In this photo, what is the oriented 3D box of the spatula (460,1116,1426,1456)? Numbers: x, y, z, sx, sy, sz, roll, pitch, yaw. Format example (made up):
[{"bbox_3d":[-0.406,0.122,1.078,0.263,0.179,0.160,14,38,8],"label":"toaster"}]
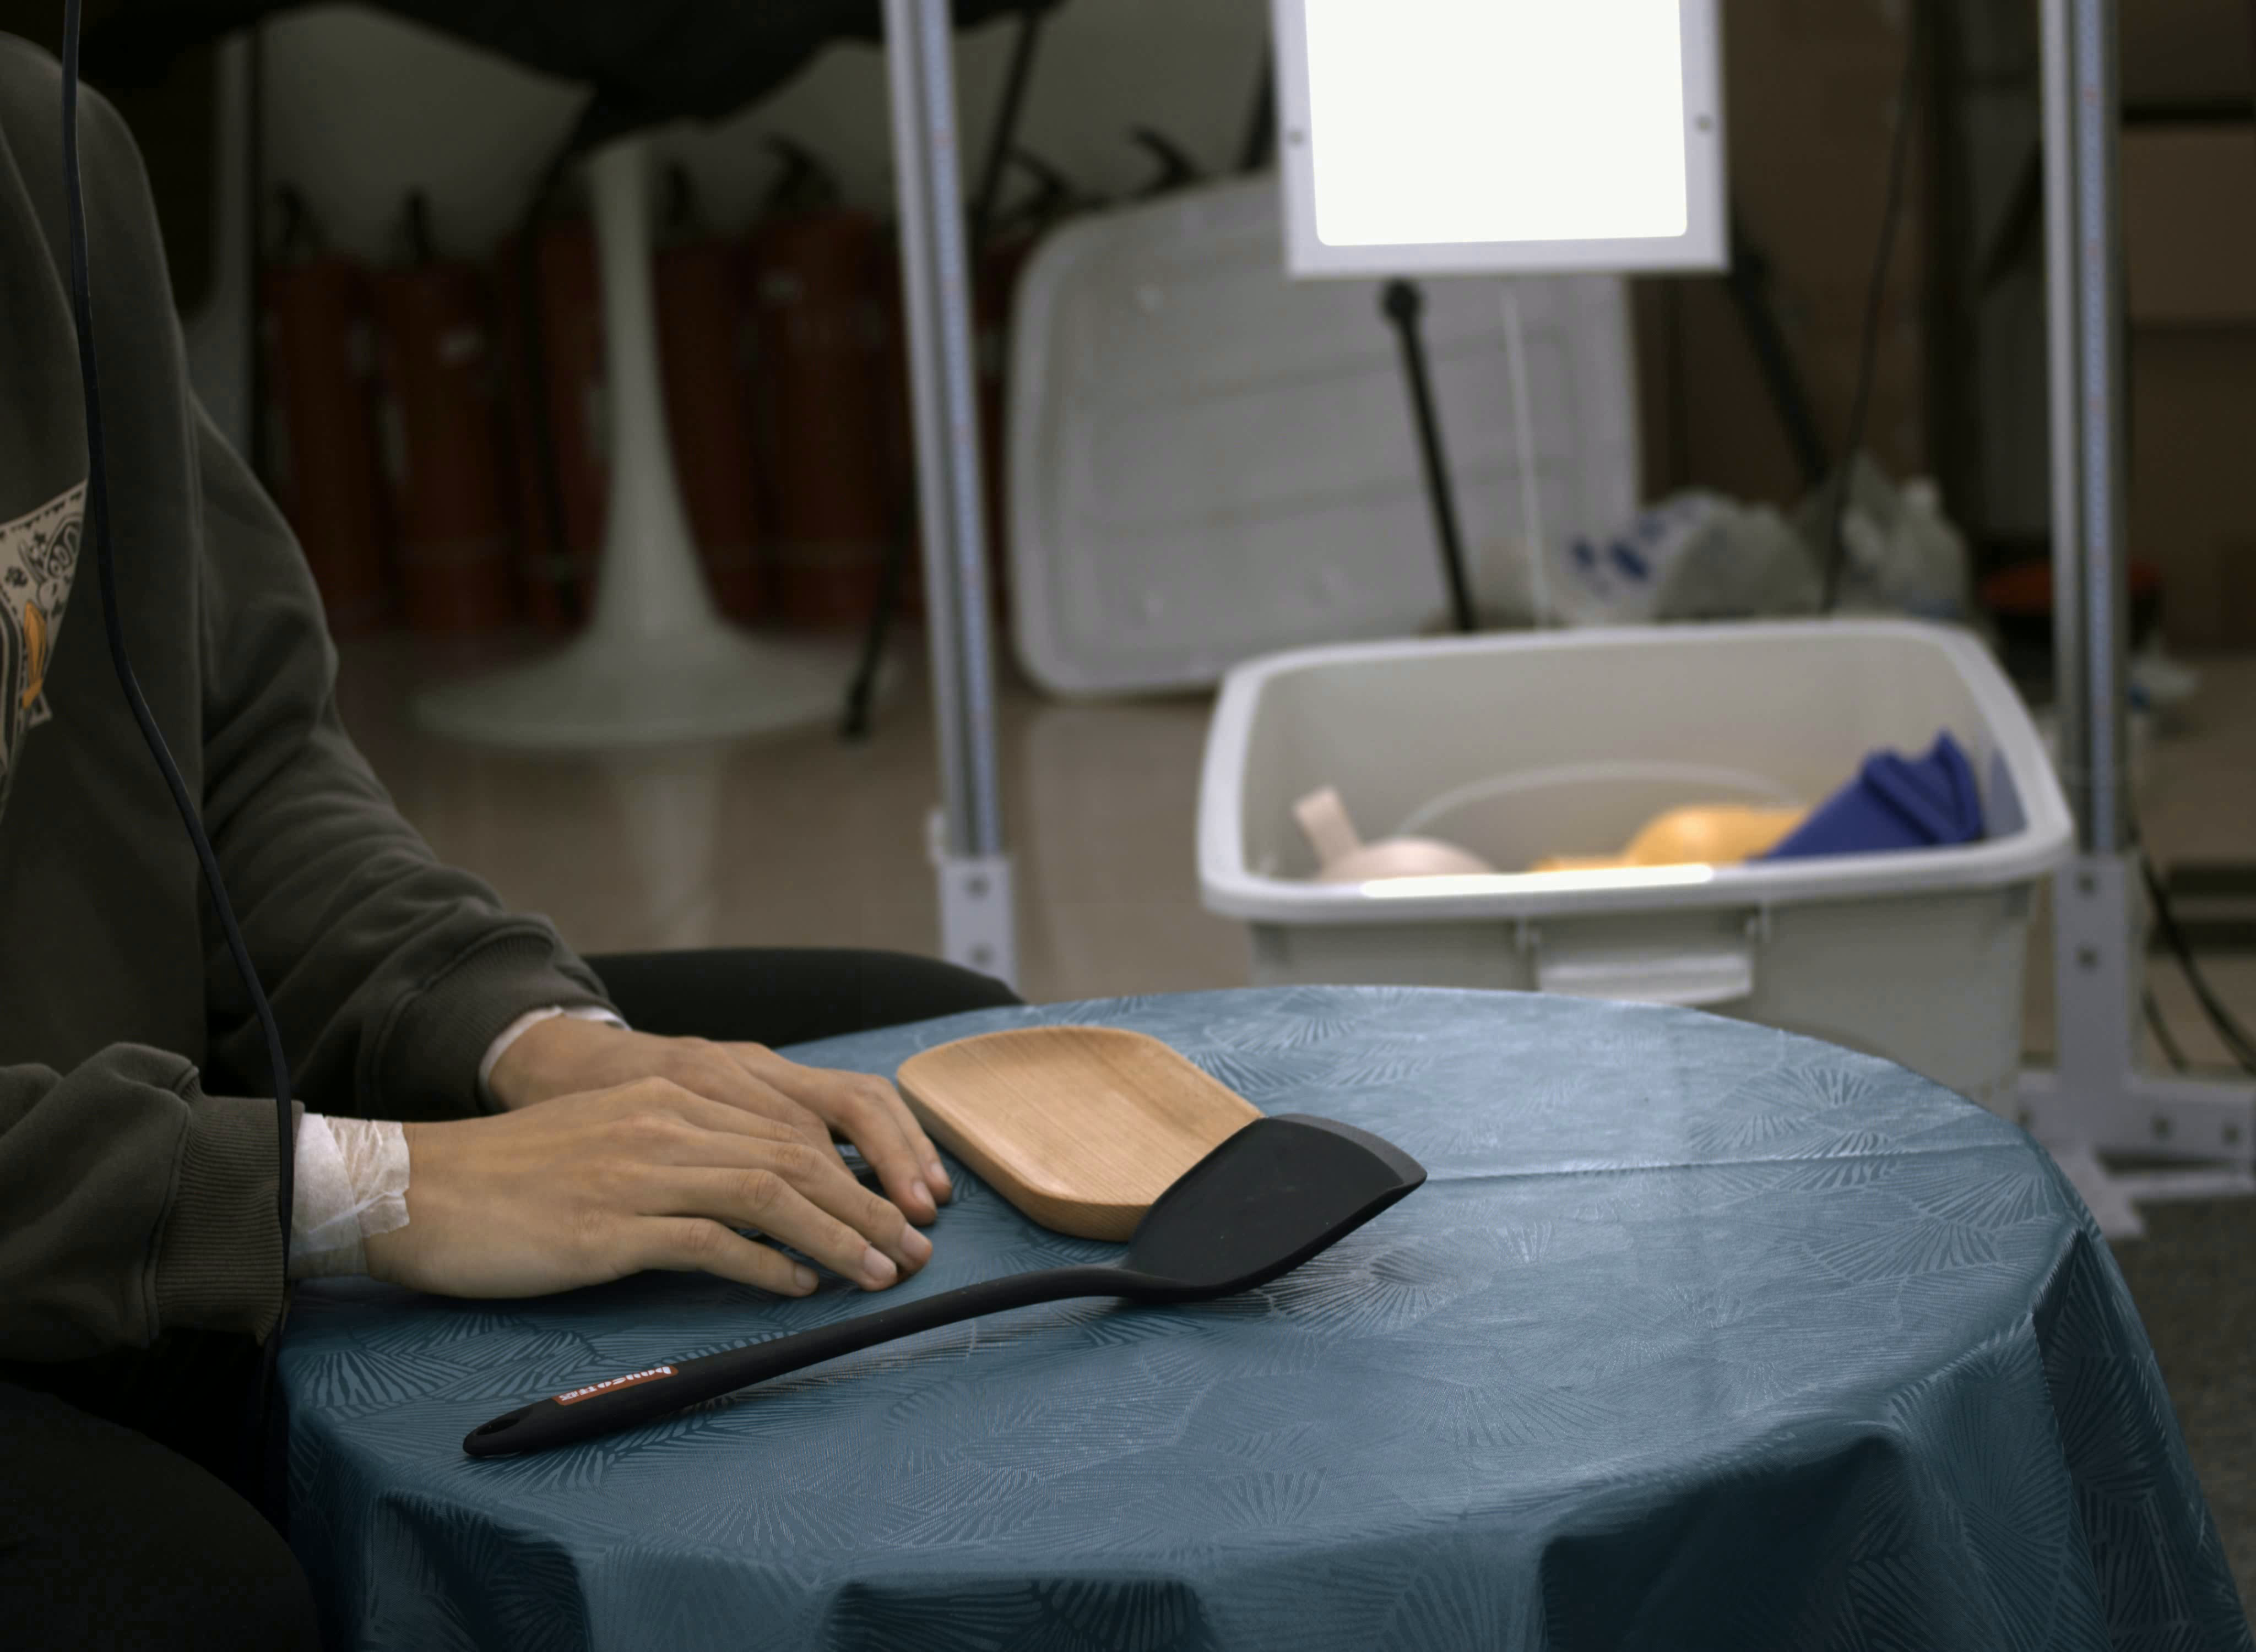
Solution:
[{"bbox_3d":[-0.061,0.149,1.752,0.319,0.040,0.101,-11,14,-23],"label":"spatula"}]

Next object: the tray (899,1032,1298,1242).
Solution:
[{"bbox_3d":[-0.011,0.108,1.942,0.100,0.020,0.234,-10,16,-17],"label":"tray"}]
